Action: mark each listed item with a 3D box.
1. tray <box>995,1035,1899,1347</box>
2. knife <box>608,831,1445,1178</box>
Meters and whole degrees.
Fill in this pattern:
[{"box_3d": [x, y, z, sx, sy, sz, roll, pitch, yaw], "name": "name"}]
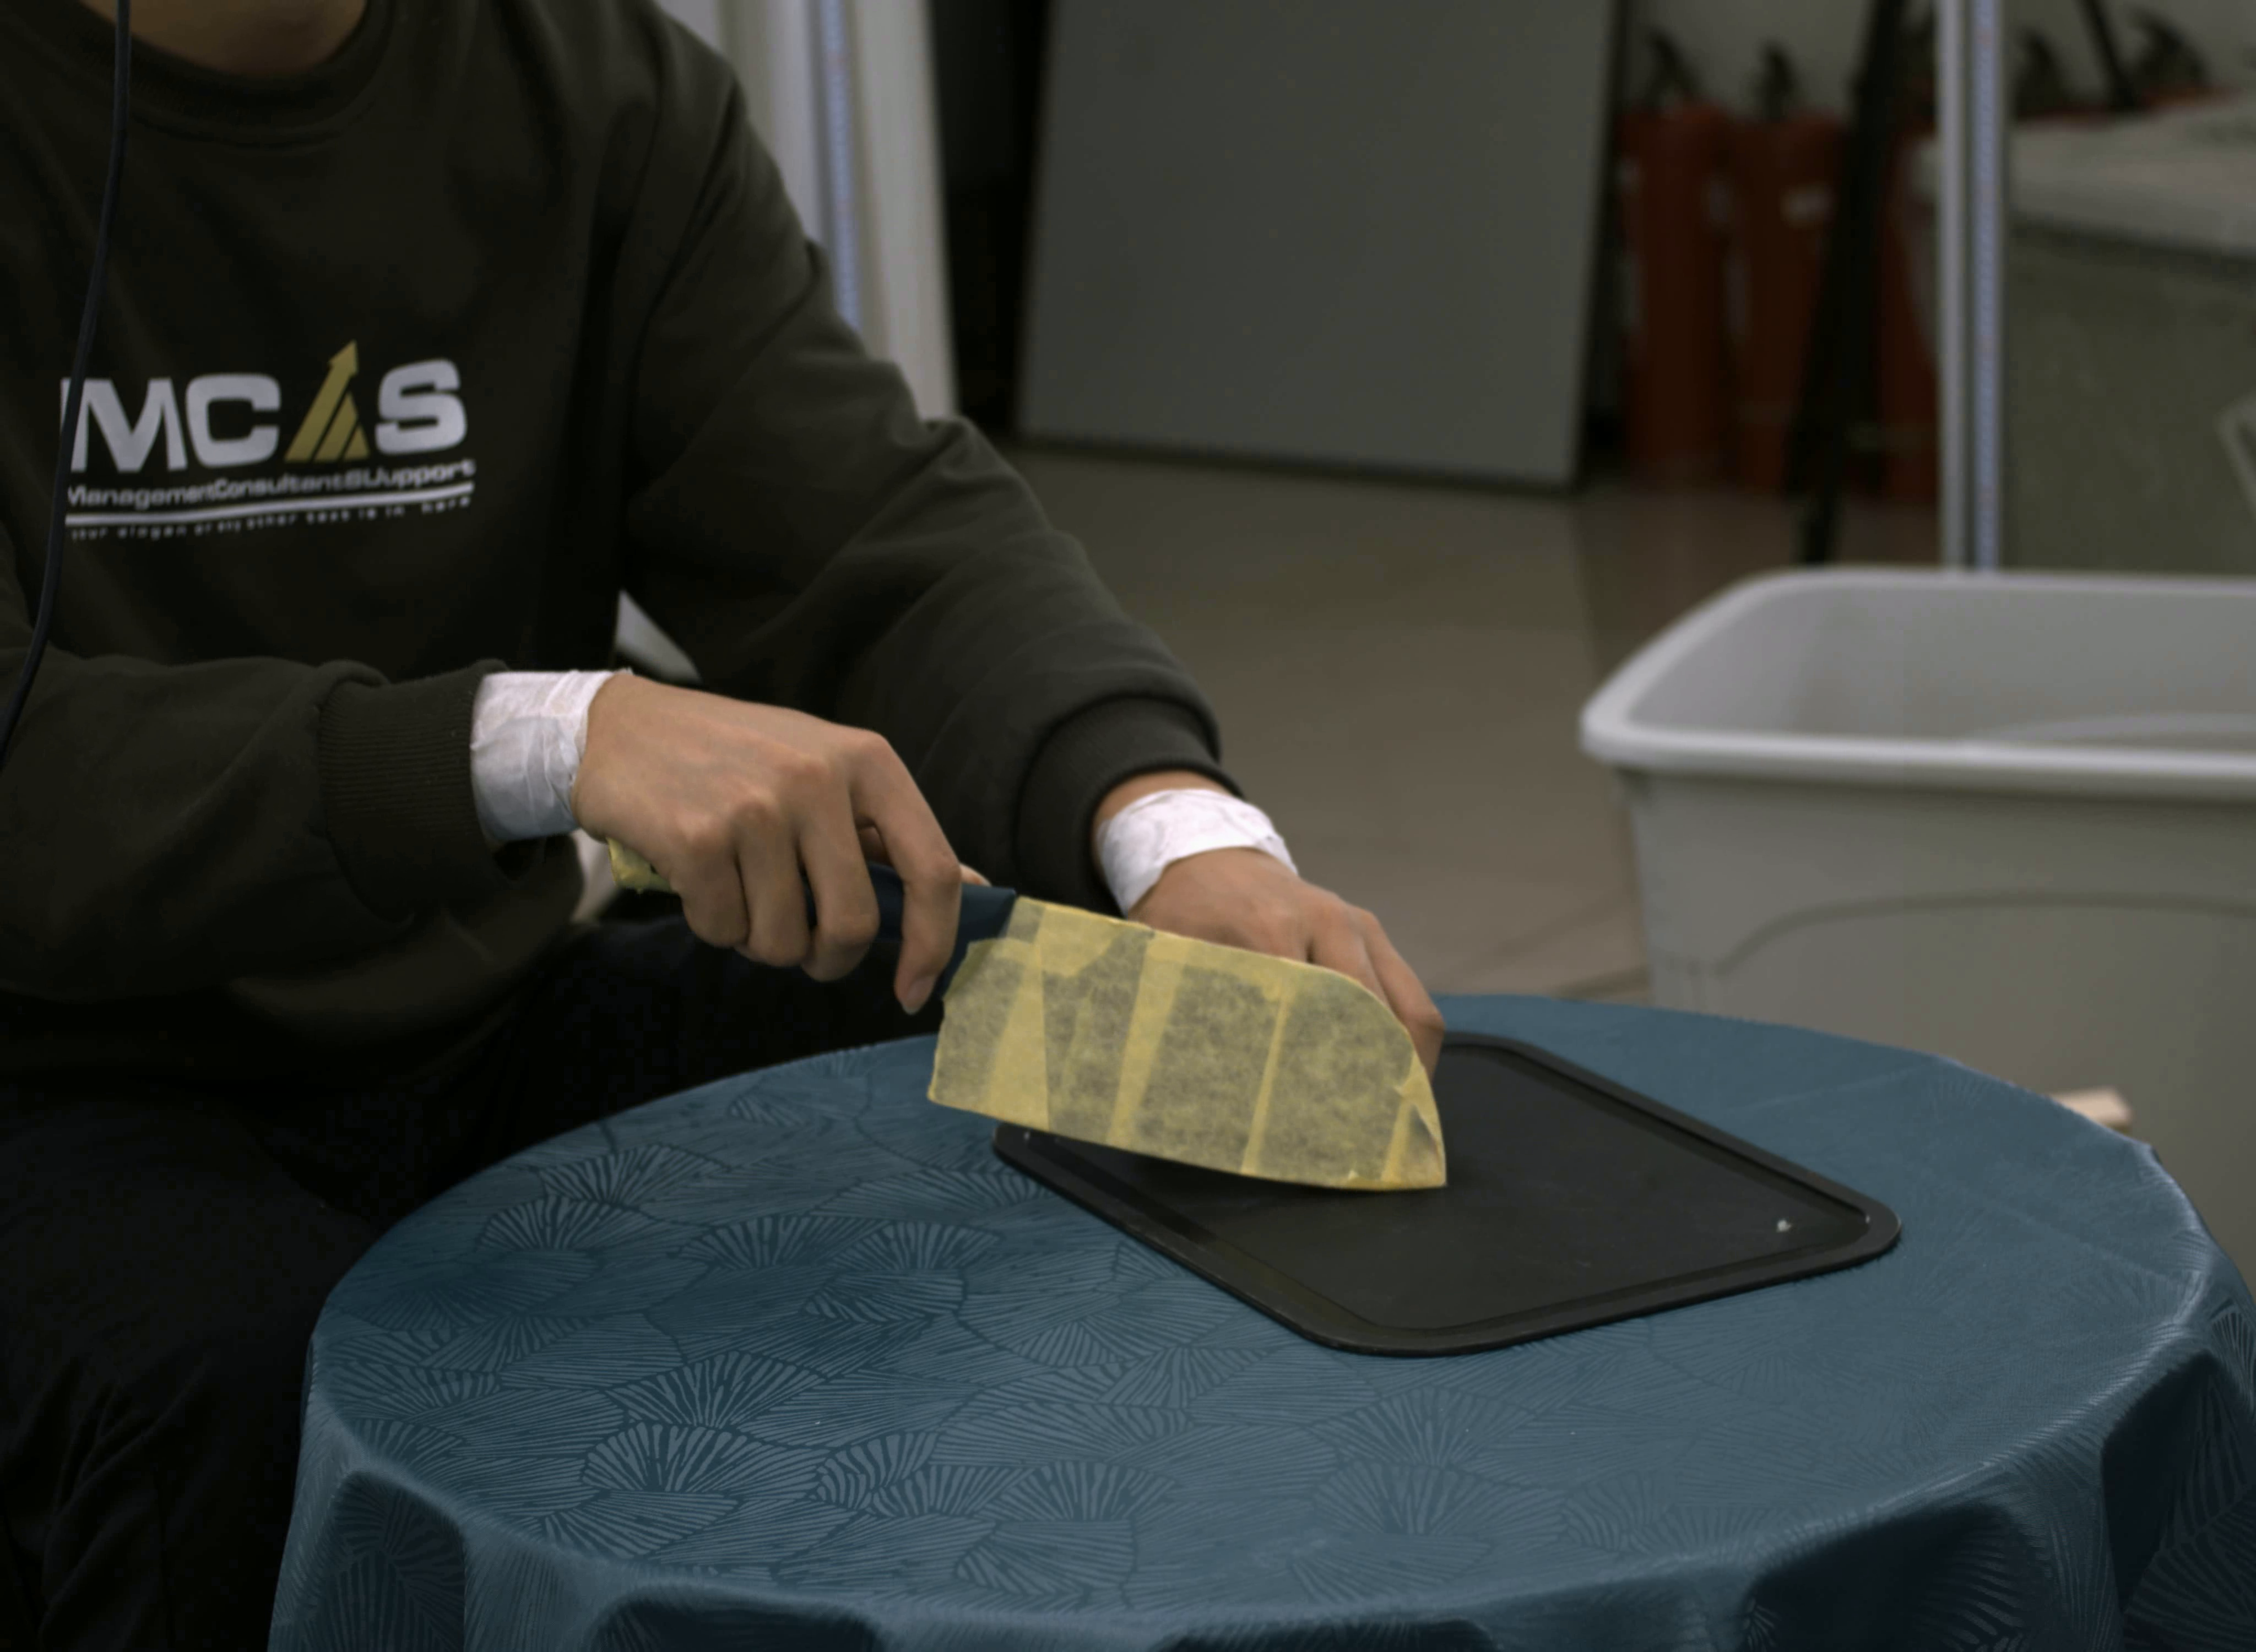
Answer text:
[{"box_3d": [0.093, 0.113, 1.765, 0.206, 0.010, 0.329, -10, 15, -24], "name": "tray"}, {"box_3d": [-0.034, 0.057, 1.750, 0.286, 0.082, 0.027, 16, -6, 2], "name": "knife"}]
